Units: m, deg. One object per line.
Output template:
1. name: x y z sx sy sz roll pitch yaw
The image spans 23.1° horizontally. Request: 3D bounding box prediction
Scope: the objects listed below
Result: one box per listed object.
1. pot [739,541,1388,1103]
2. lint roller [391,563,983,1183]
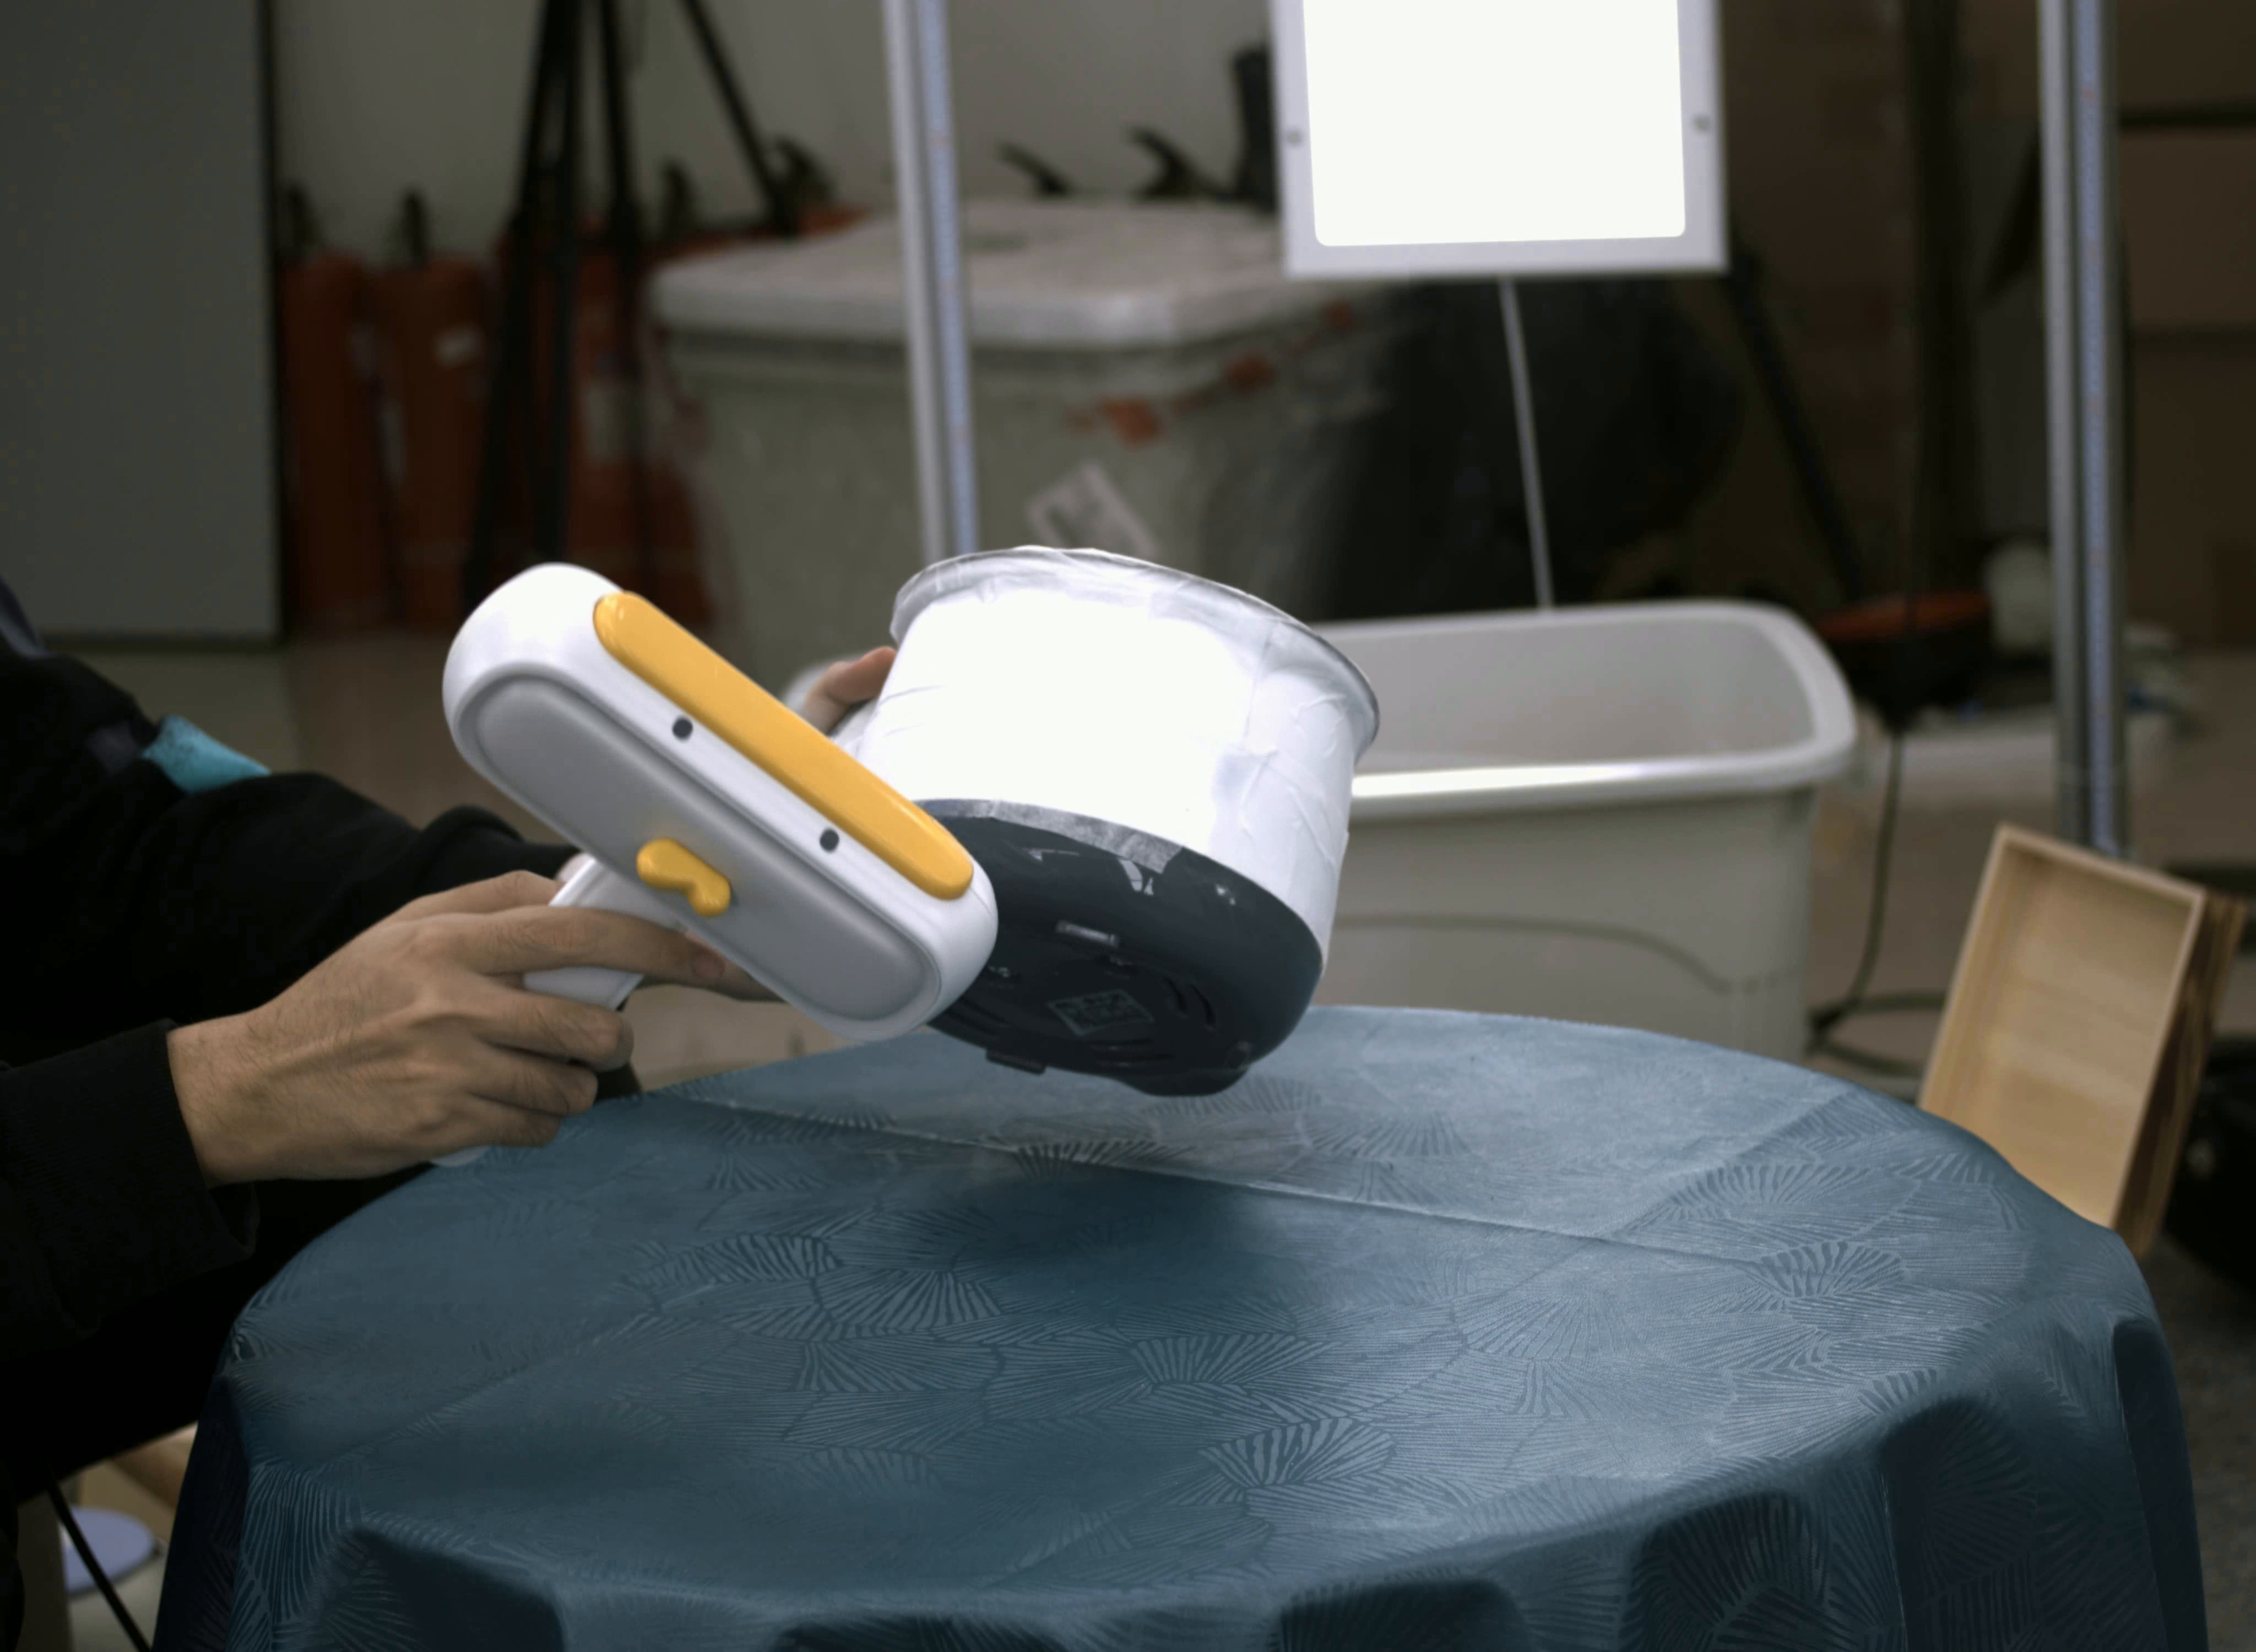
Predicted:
1. pot: -0.033 0.002 1.928 0.239 0.136 0.176 -2 -29 37
2. lint roller: -0.166 0.033 1.714 0.190 0.196 0.074 31 34 -17
